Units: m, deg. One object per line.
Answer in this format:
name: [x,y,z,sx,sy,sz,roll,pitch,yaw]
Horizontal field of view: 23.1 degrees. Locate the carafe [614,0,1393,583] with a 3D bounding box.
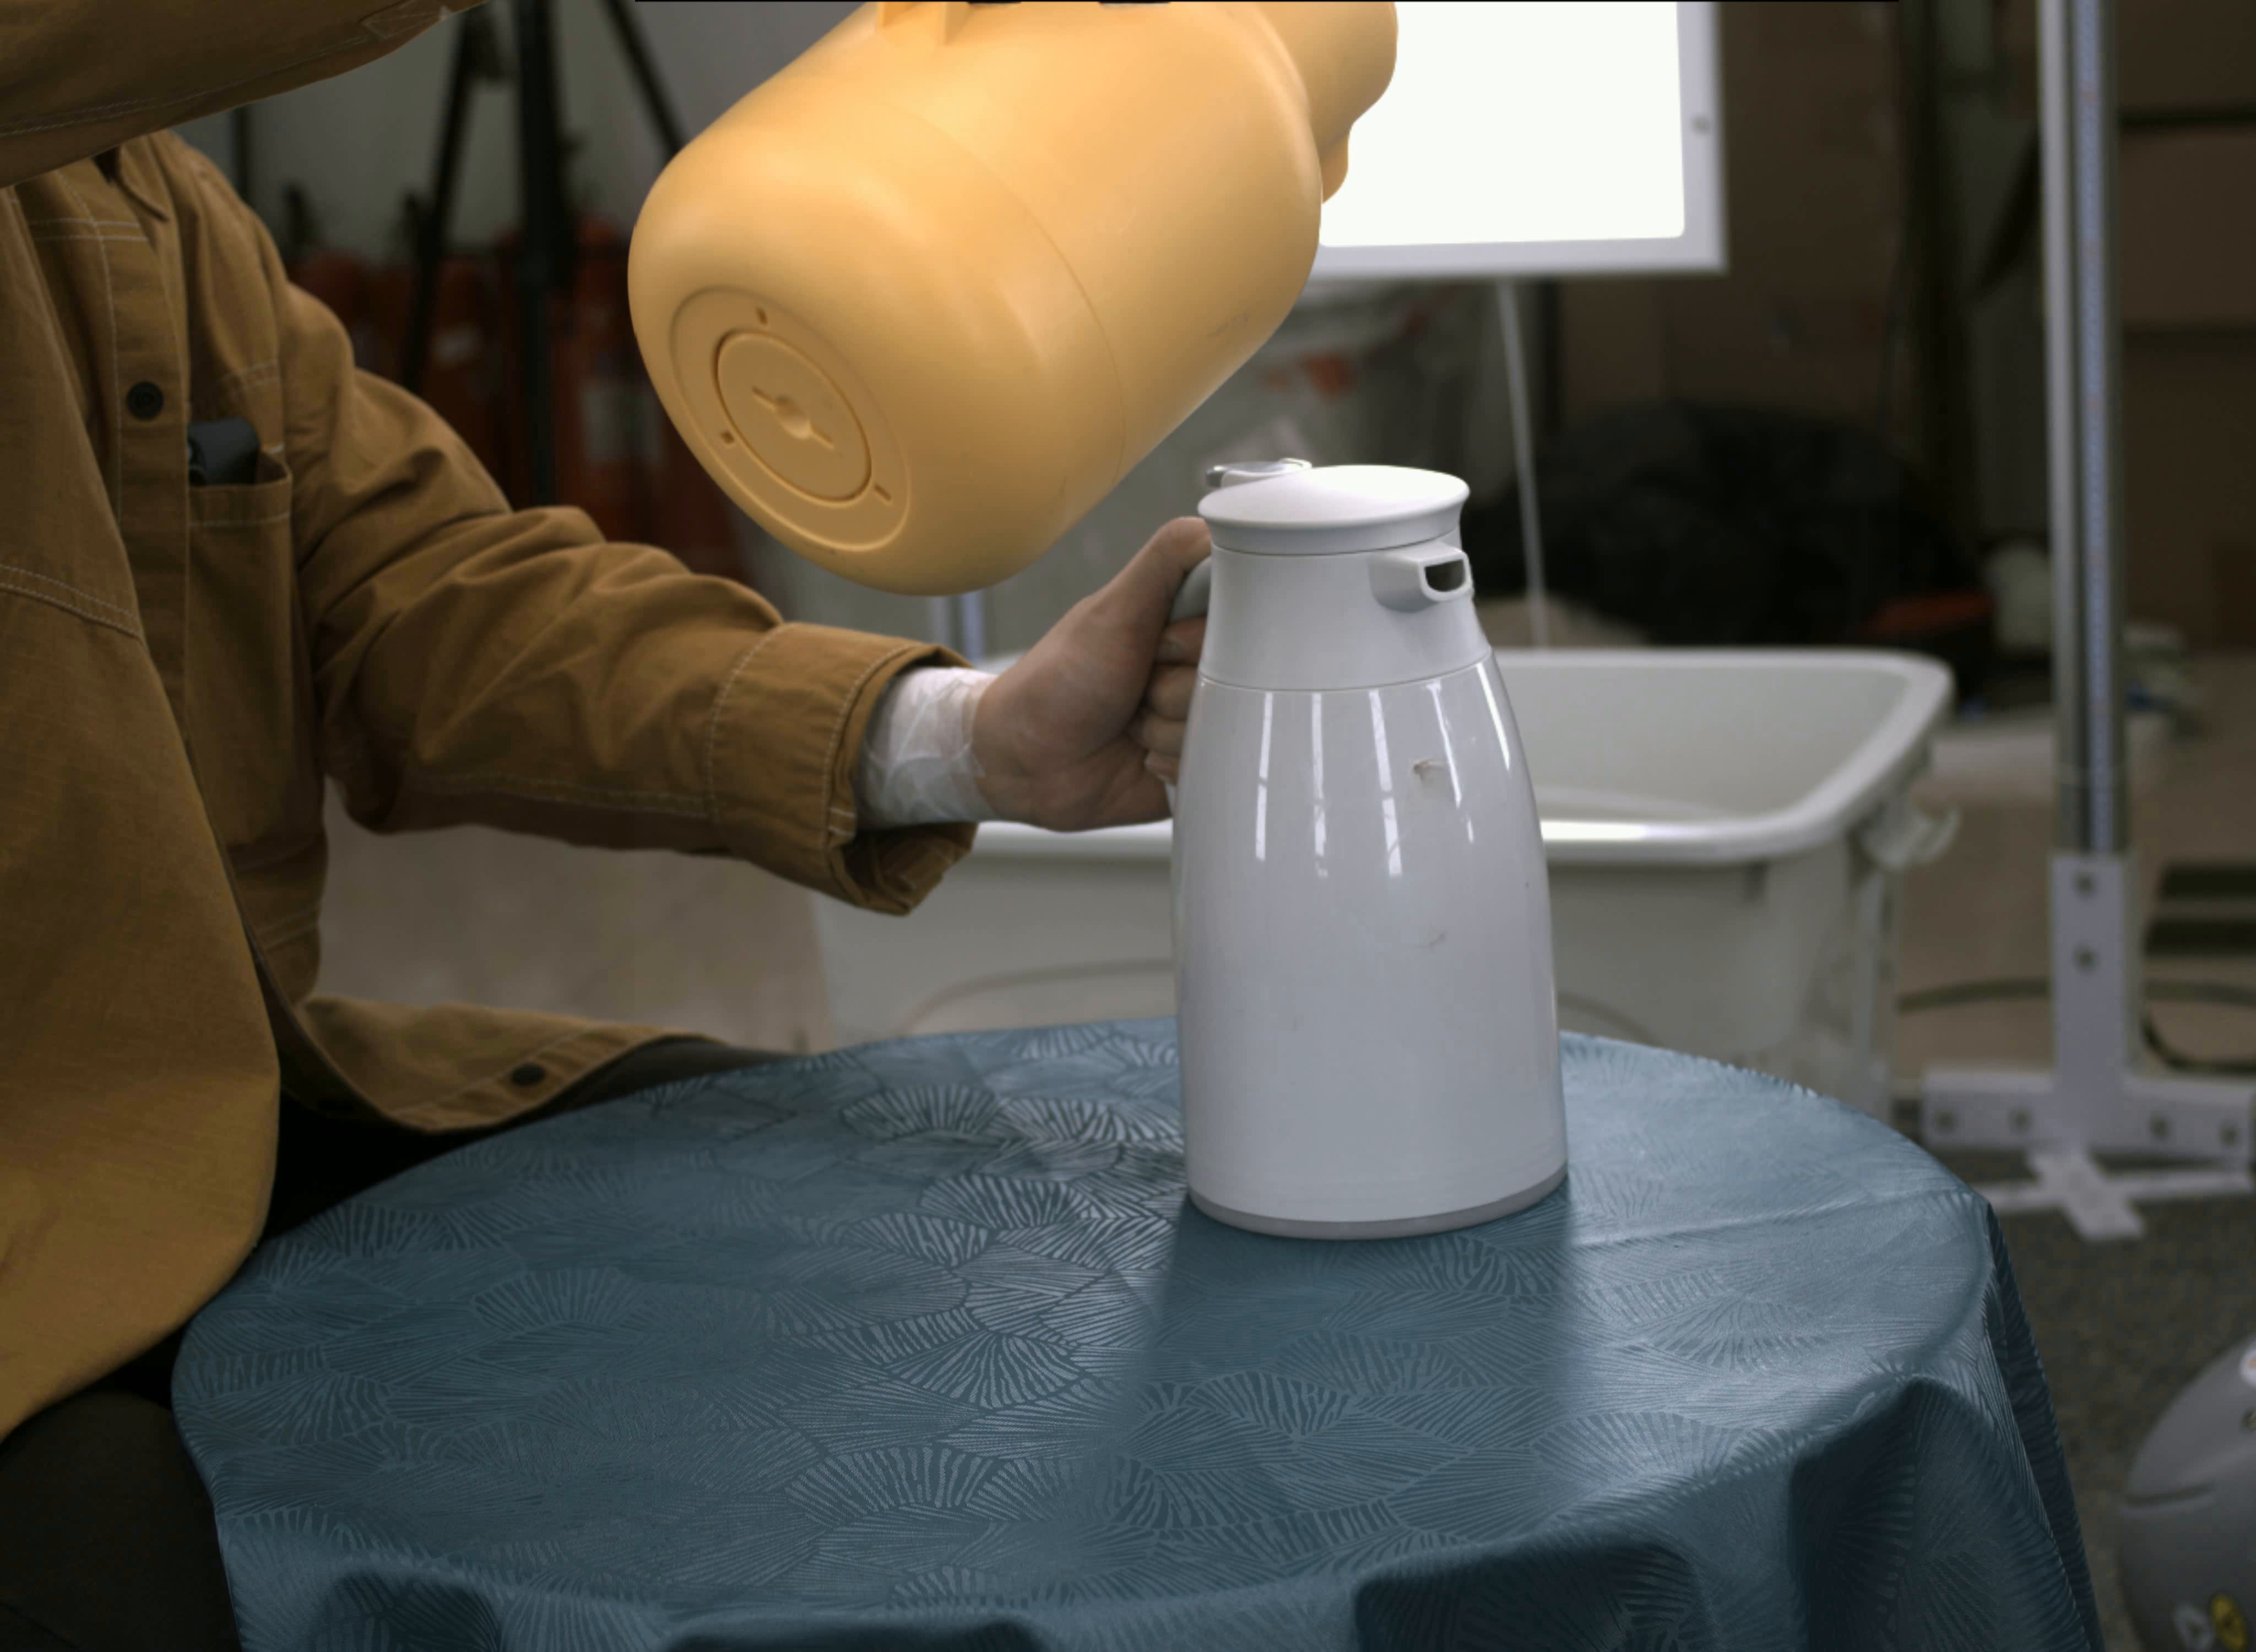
carafe: [-0.031,-0.215,1.686,0.167,0.202,0.255,16,45,40]

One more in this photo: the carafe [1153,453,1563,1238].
carafe: [0.065,-0.001,1.874,0.129,0.249,0.171,-13,16,-31]
